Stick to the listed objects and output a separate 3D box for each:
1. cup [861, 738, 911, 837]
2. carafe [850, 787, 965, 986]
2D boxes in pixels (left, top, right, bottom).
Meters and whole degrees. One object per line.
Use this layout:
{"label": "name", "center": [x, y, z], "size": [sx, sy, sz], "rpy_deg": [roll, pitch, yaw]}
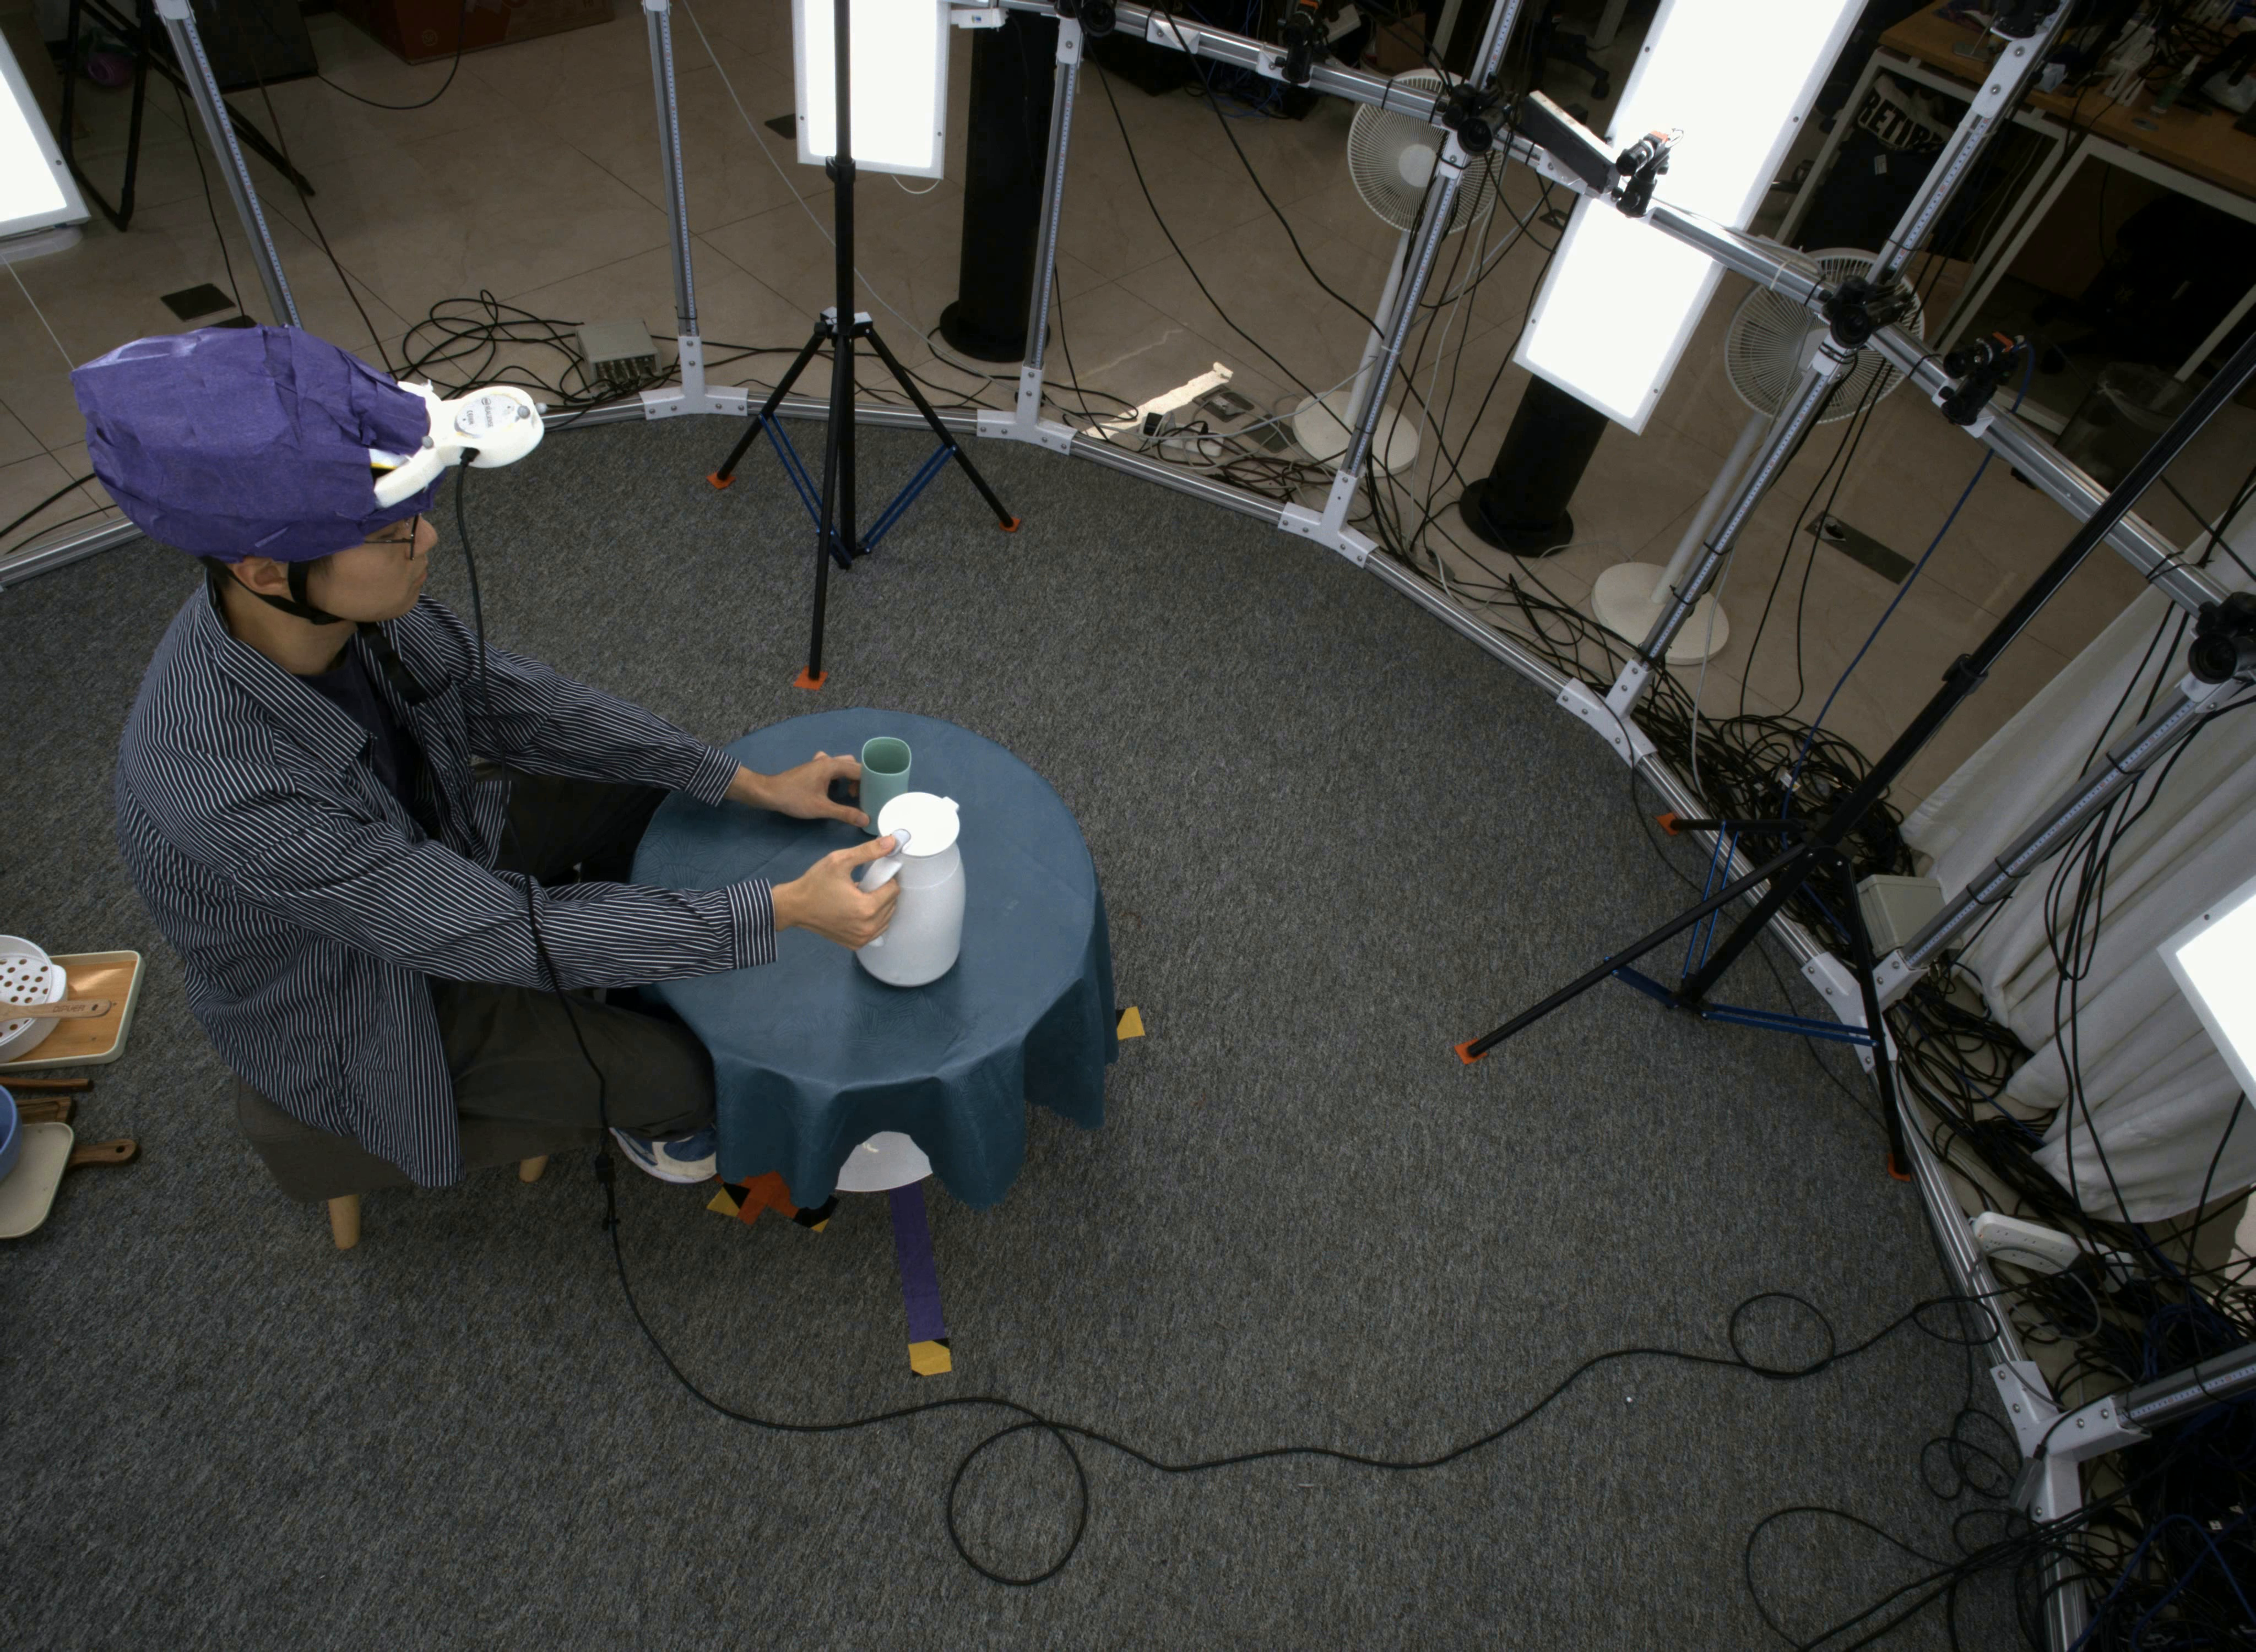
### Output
{"label": "cup", "center": [-0.323, -0.049, 1.716], "size": [0.066, 0.135, 0.065], "rpy_deg": [7, 52, -8]}
{"label": "carafe", "center": [-0.266, 0.078, 1.534], "size": [0.130, 0.254, 0.167], "rpy_deg": [30, 52, 11]}
